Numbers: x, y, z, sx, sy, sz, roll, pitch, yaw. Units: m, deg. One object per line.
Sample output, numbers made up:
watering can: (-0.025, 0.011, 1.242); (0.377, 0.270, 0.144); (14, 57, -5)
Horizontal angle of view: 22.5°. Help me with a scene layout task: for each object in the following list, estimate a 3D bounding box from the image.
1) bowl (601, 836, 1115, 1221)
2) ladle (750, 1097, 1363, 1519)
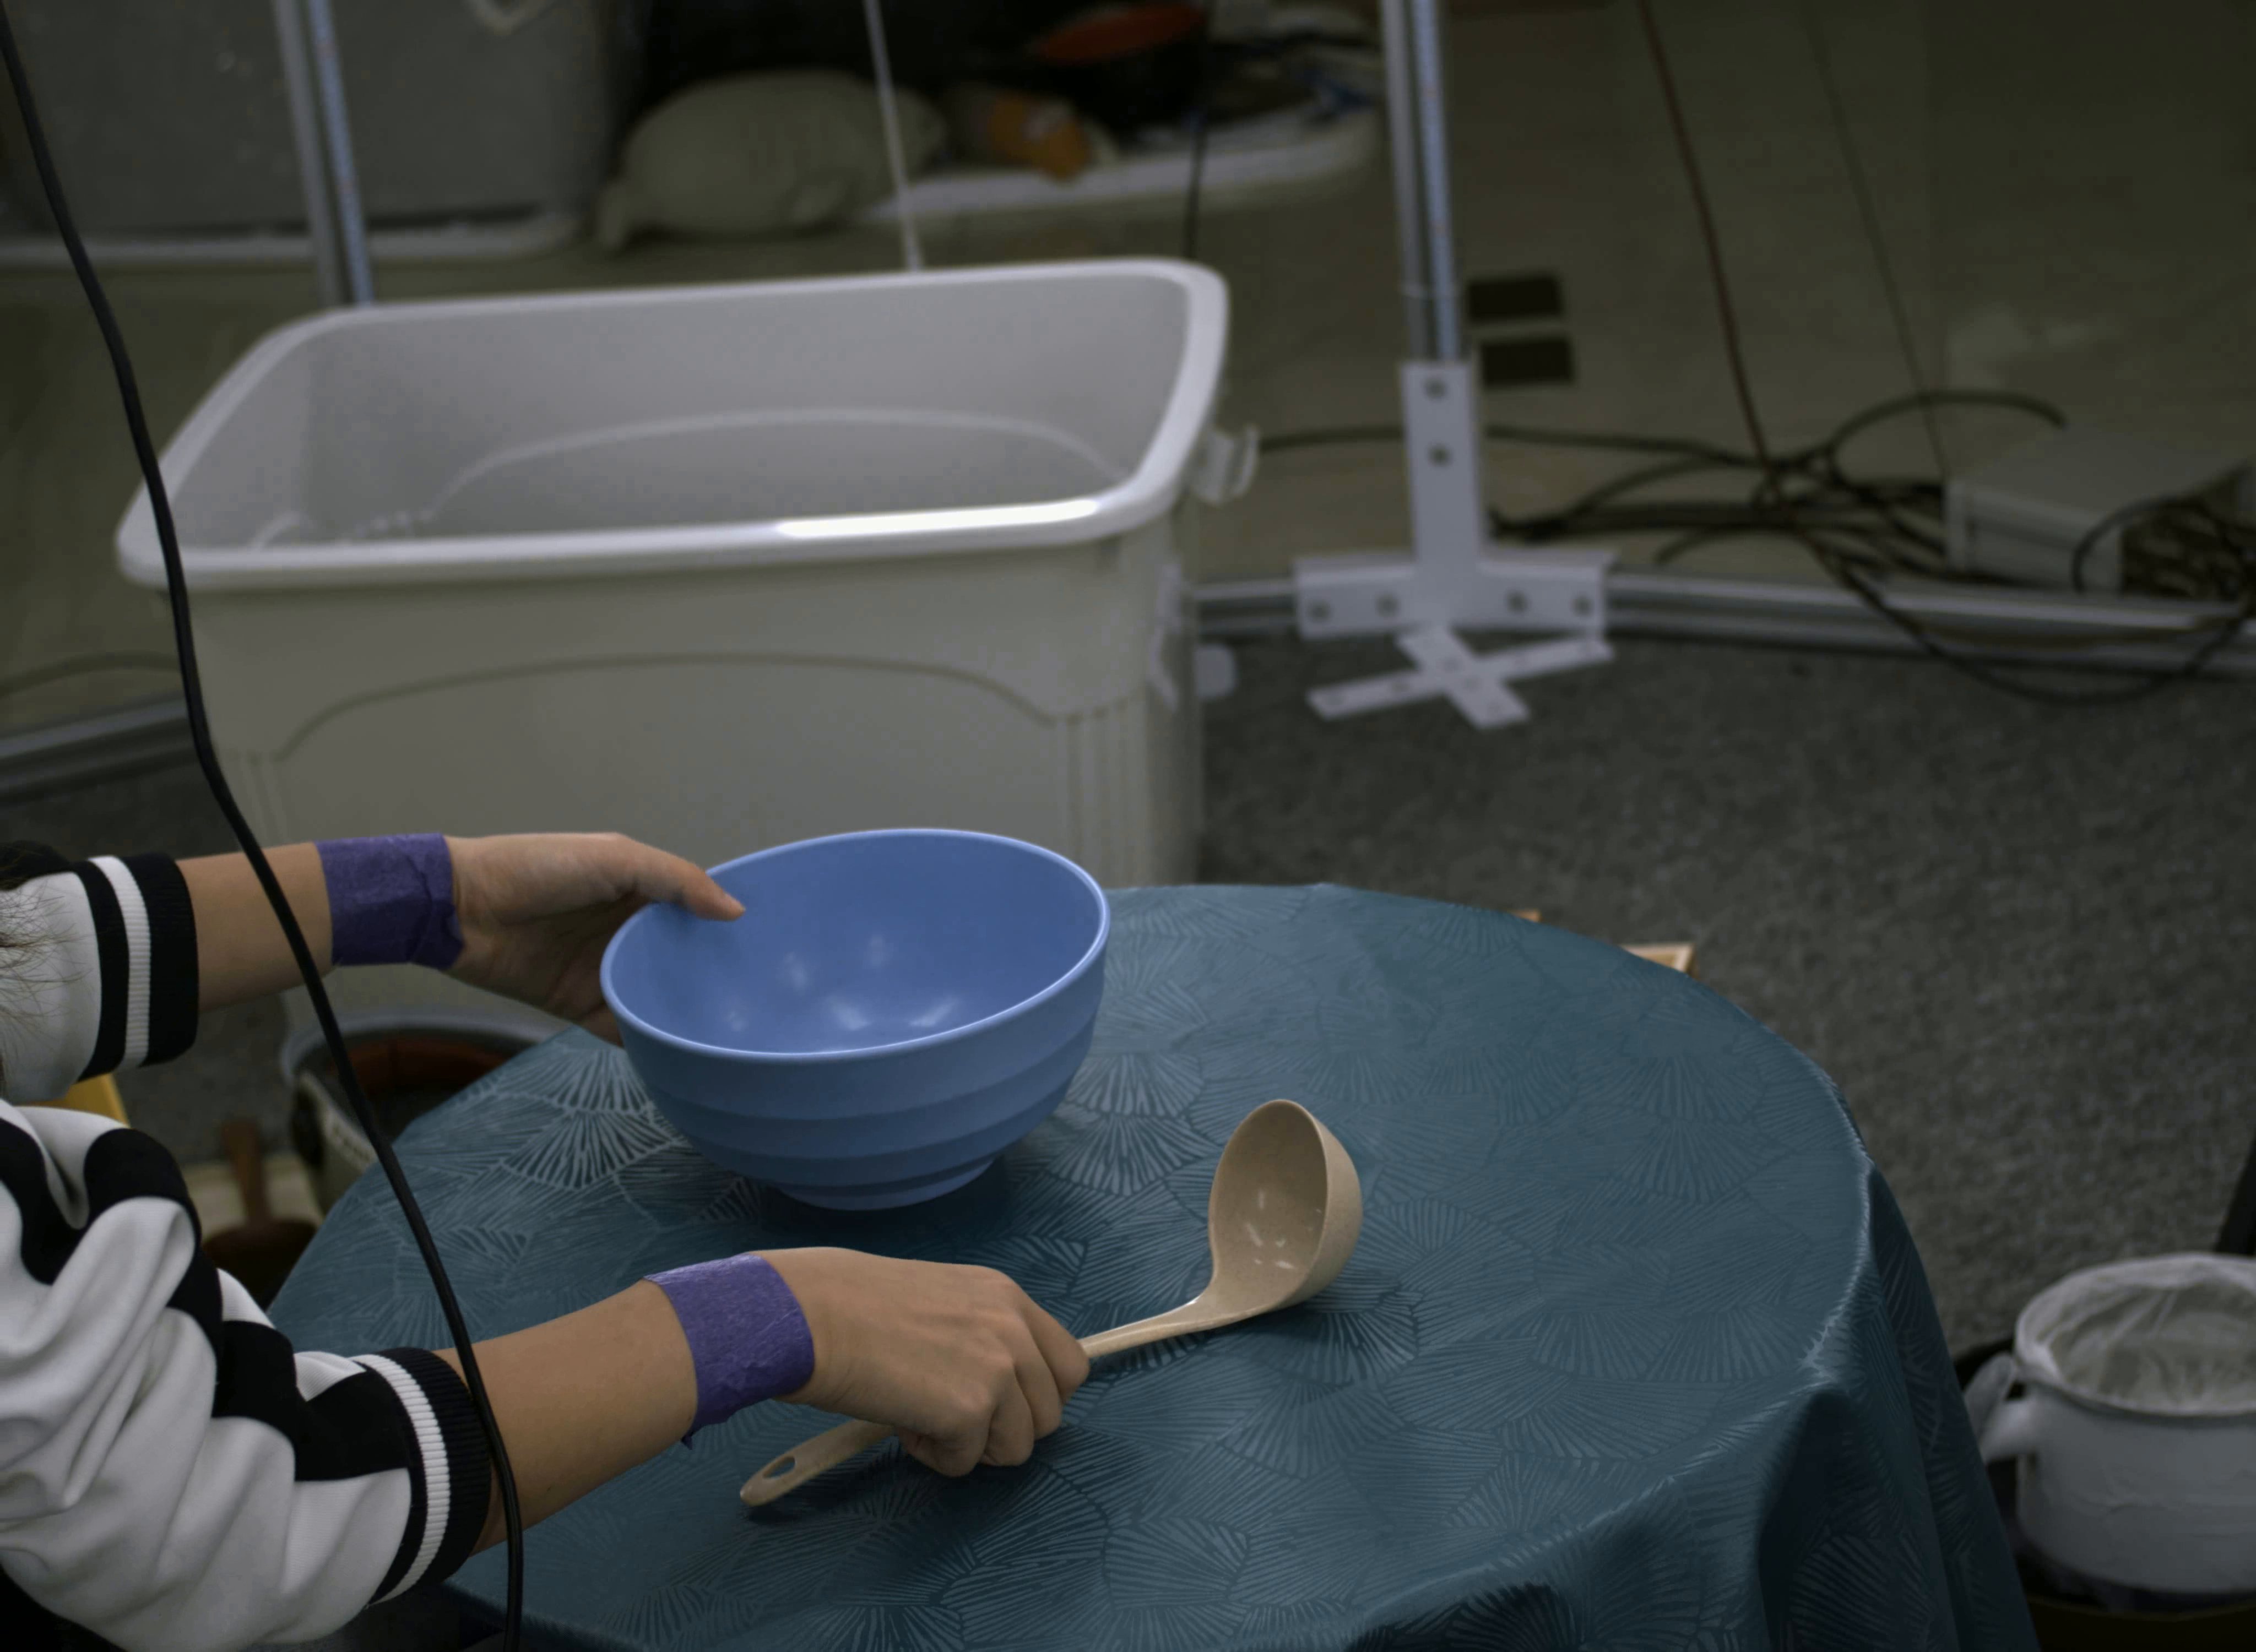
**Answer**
bowl: (-0.099, 0.088, 2.176); (0.196, 0.097, 0.193); (-4, 26, 2)
ladle: (-0.029, 0.167, 2.005); (0.253, 0.074, 0.071); (-20, 27, -28)
